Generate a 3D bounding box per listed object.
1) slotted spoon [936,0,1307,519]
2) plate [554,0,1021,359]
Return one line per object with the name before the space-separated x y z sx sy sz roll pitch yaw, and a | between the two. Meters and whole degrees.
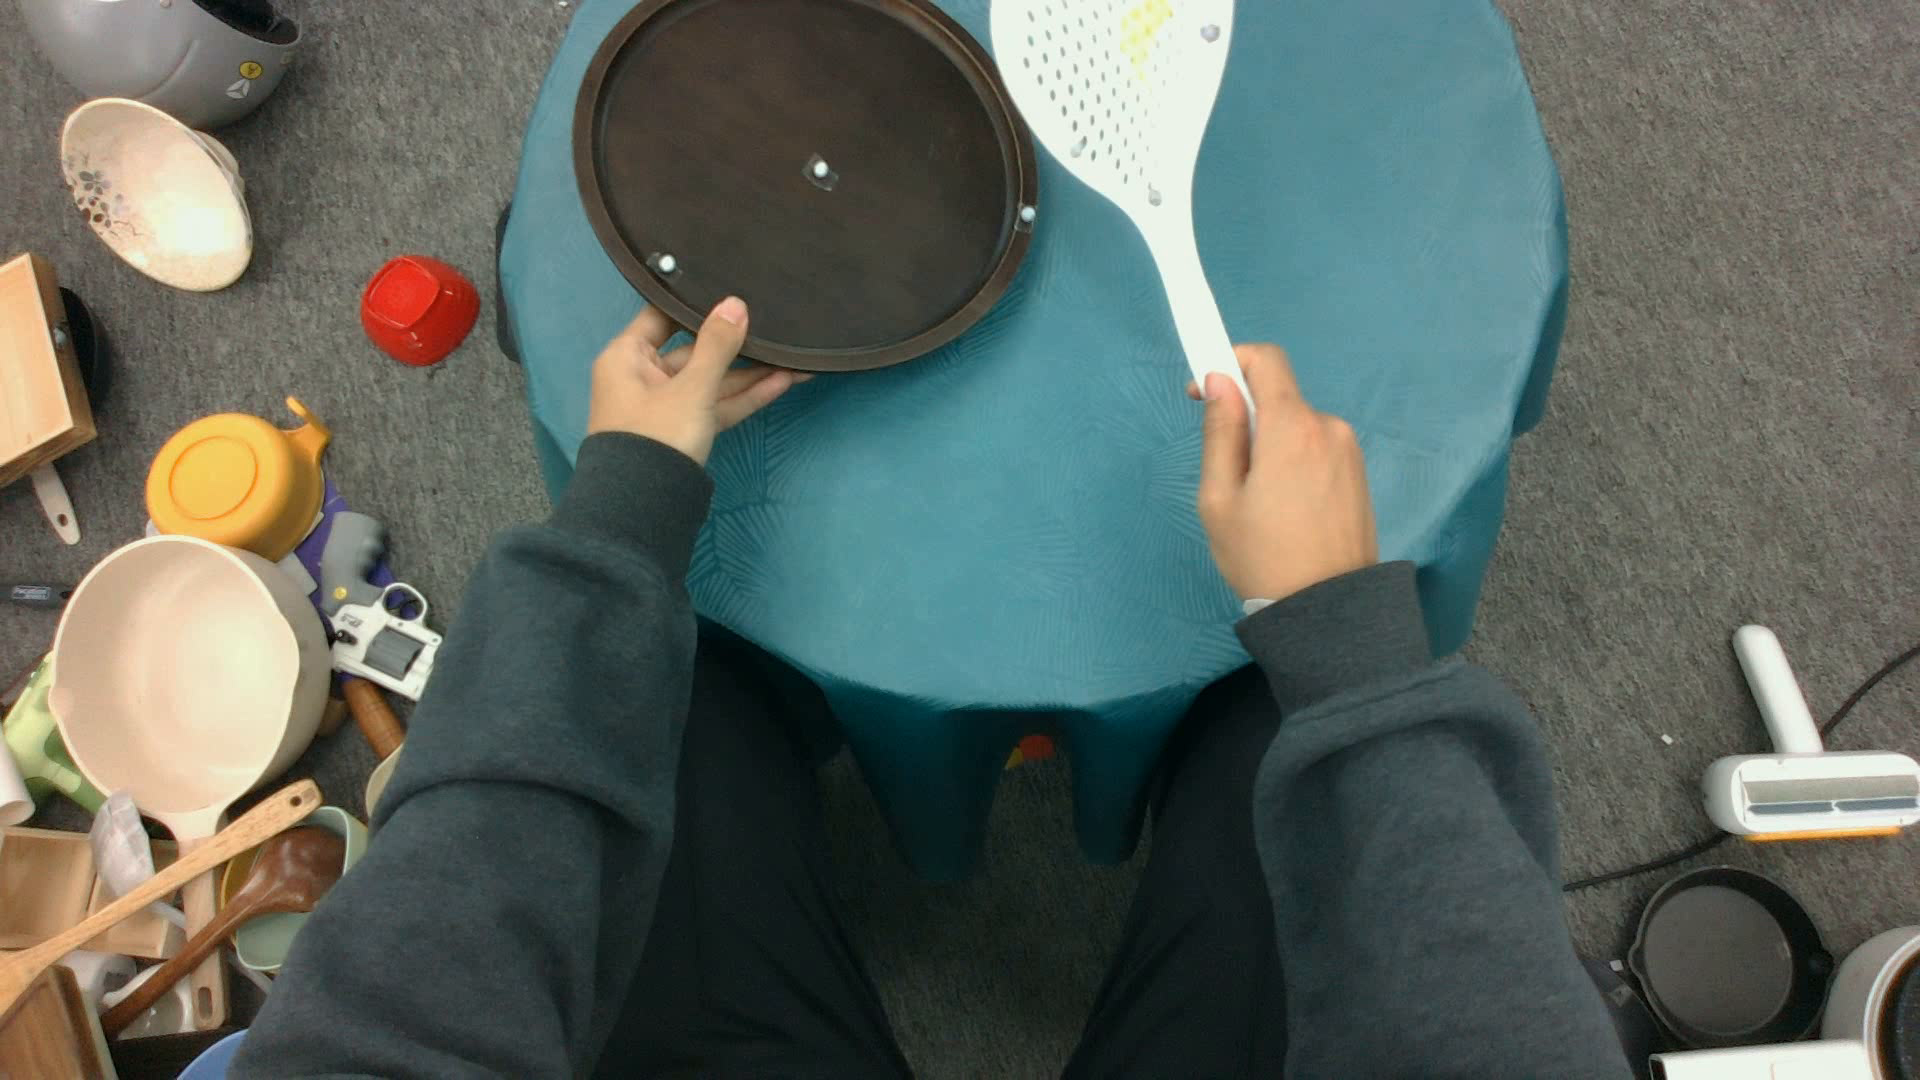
slotted spoon | 0.085 -0.168 0.665 0.136 0.050 0.348 -29 71 37
plate | -0.091 -0.215 0.752 0.255 0.029 0.255 5 72 -15
